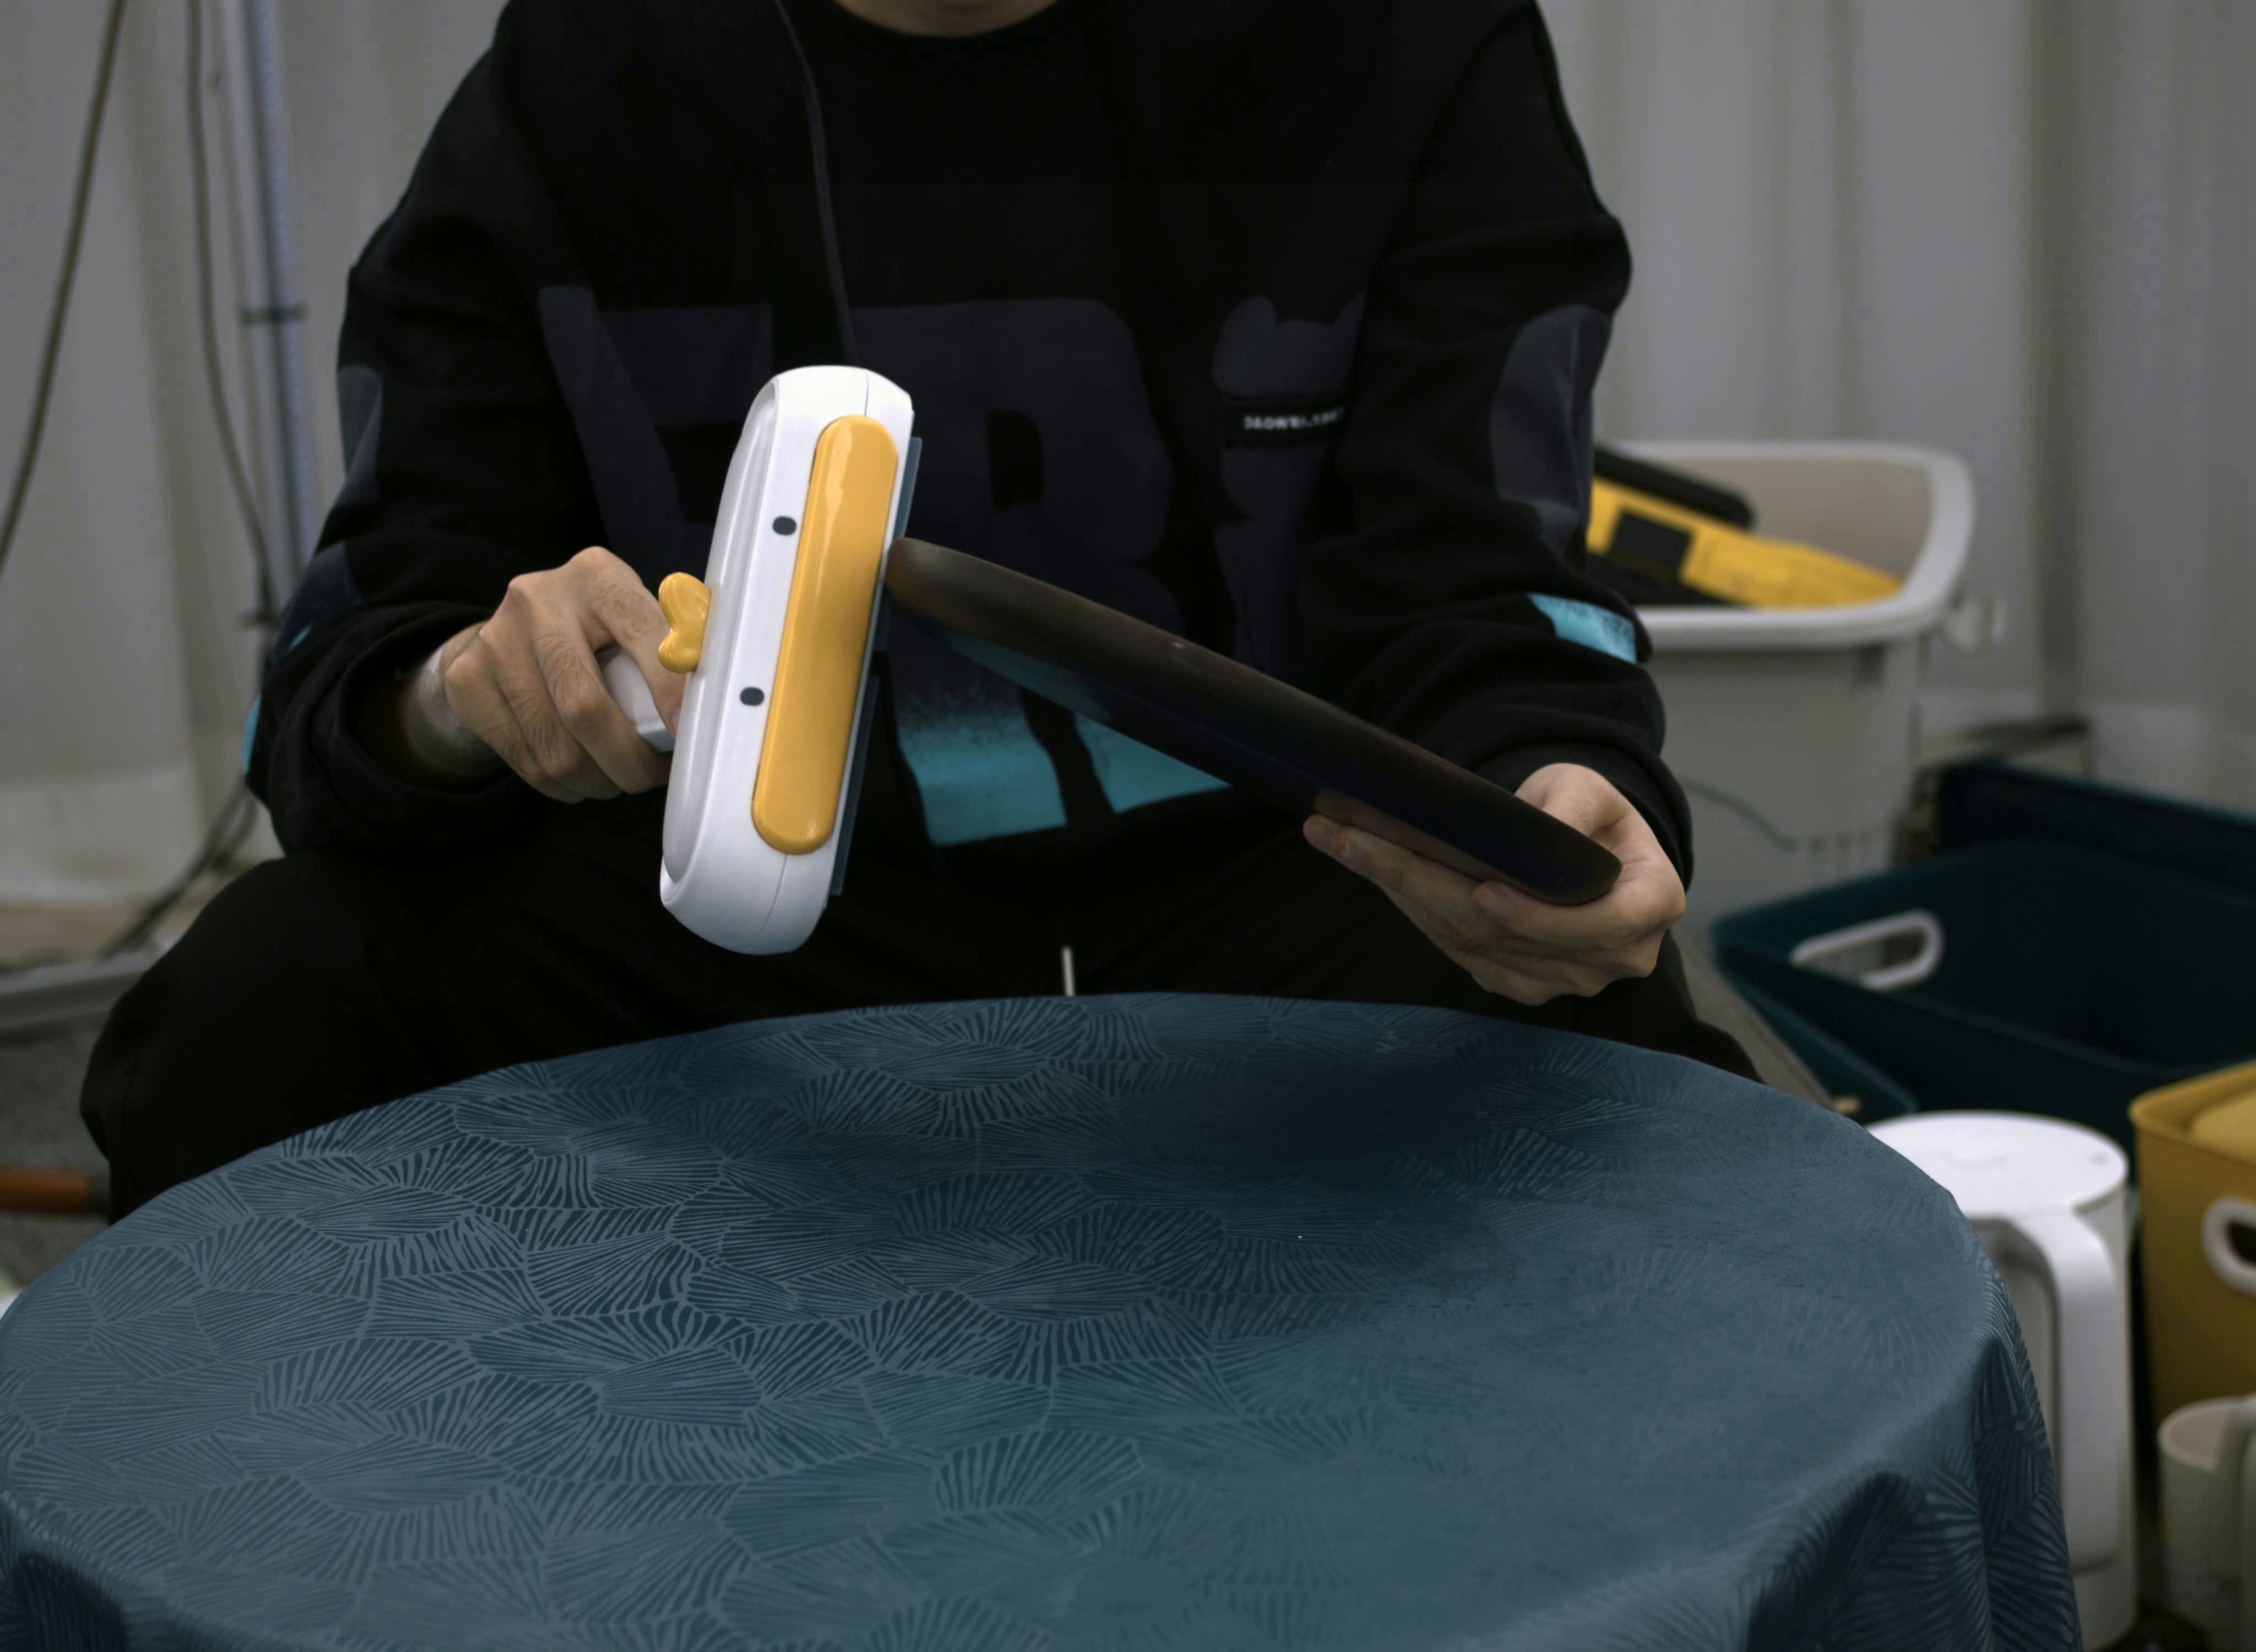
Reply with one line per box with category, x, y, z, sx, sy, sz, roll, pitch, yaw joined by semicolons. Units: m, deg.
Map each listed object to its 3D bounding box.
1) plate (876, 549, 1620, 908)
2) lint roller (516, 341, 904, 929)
plate;0.035;-0.030;1.726;0.254;0.029;0.254;24;-4;2
lint roller;-0.140;-0.048;1.792;0.073;0.195;0.192;12;-21;-24
